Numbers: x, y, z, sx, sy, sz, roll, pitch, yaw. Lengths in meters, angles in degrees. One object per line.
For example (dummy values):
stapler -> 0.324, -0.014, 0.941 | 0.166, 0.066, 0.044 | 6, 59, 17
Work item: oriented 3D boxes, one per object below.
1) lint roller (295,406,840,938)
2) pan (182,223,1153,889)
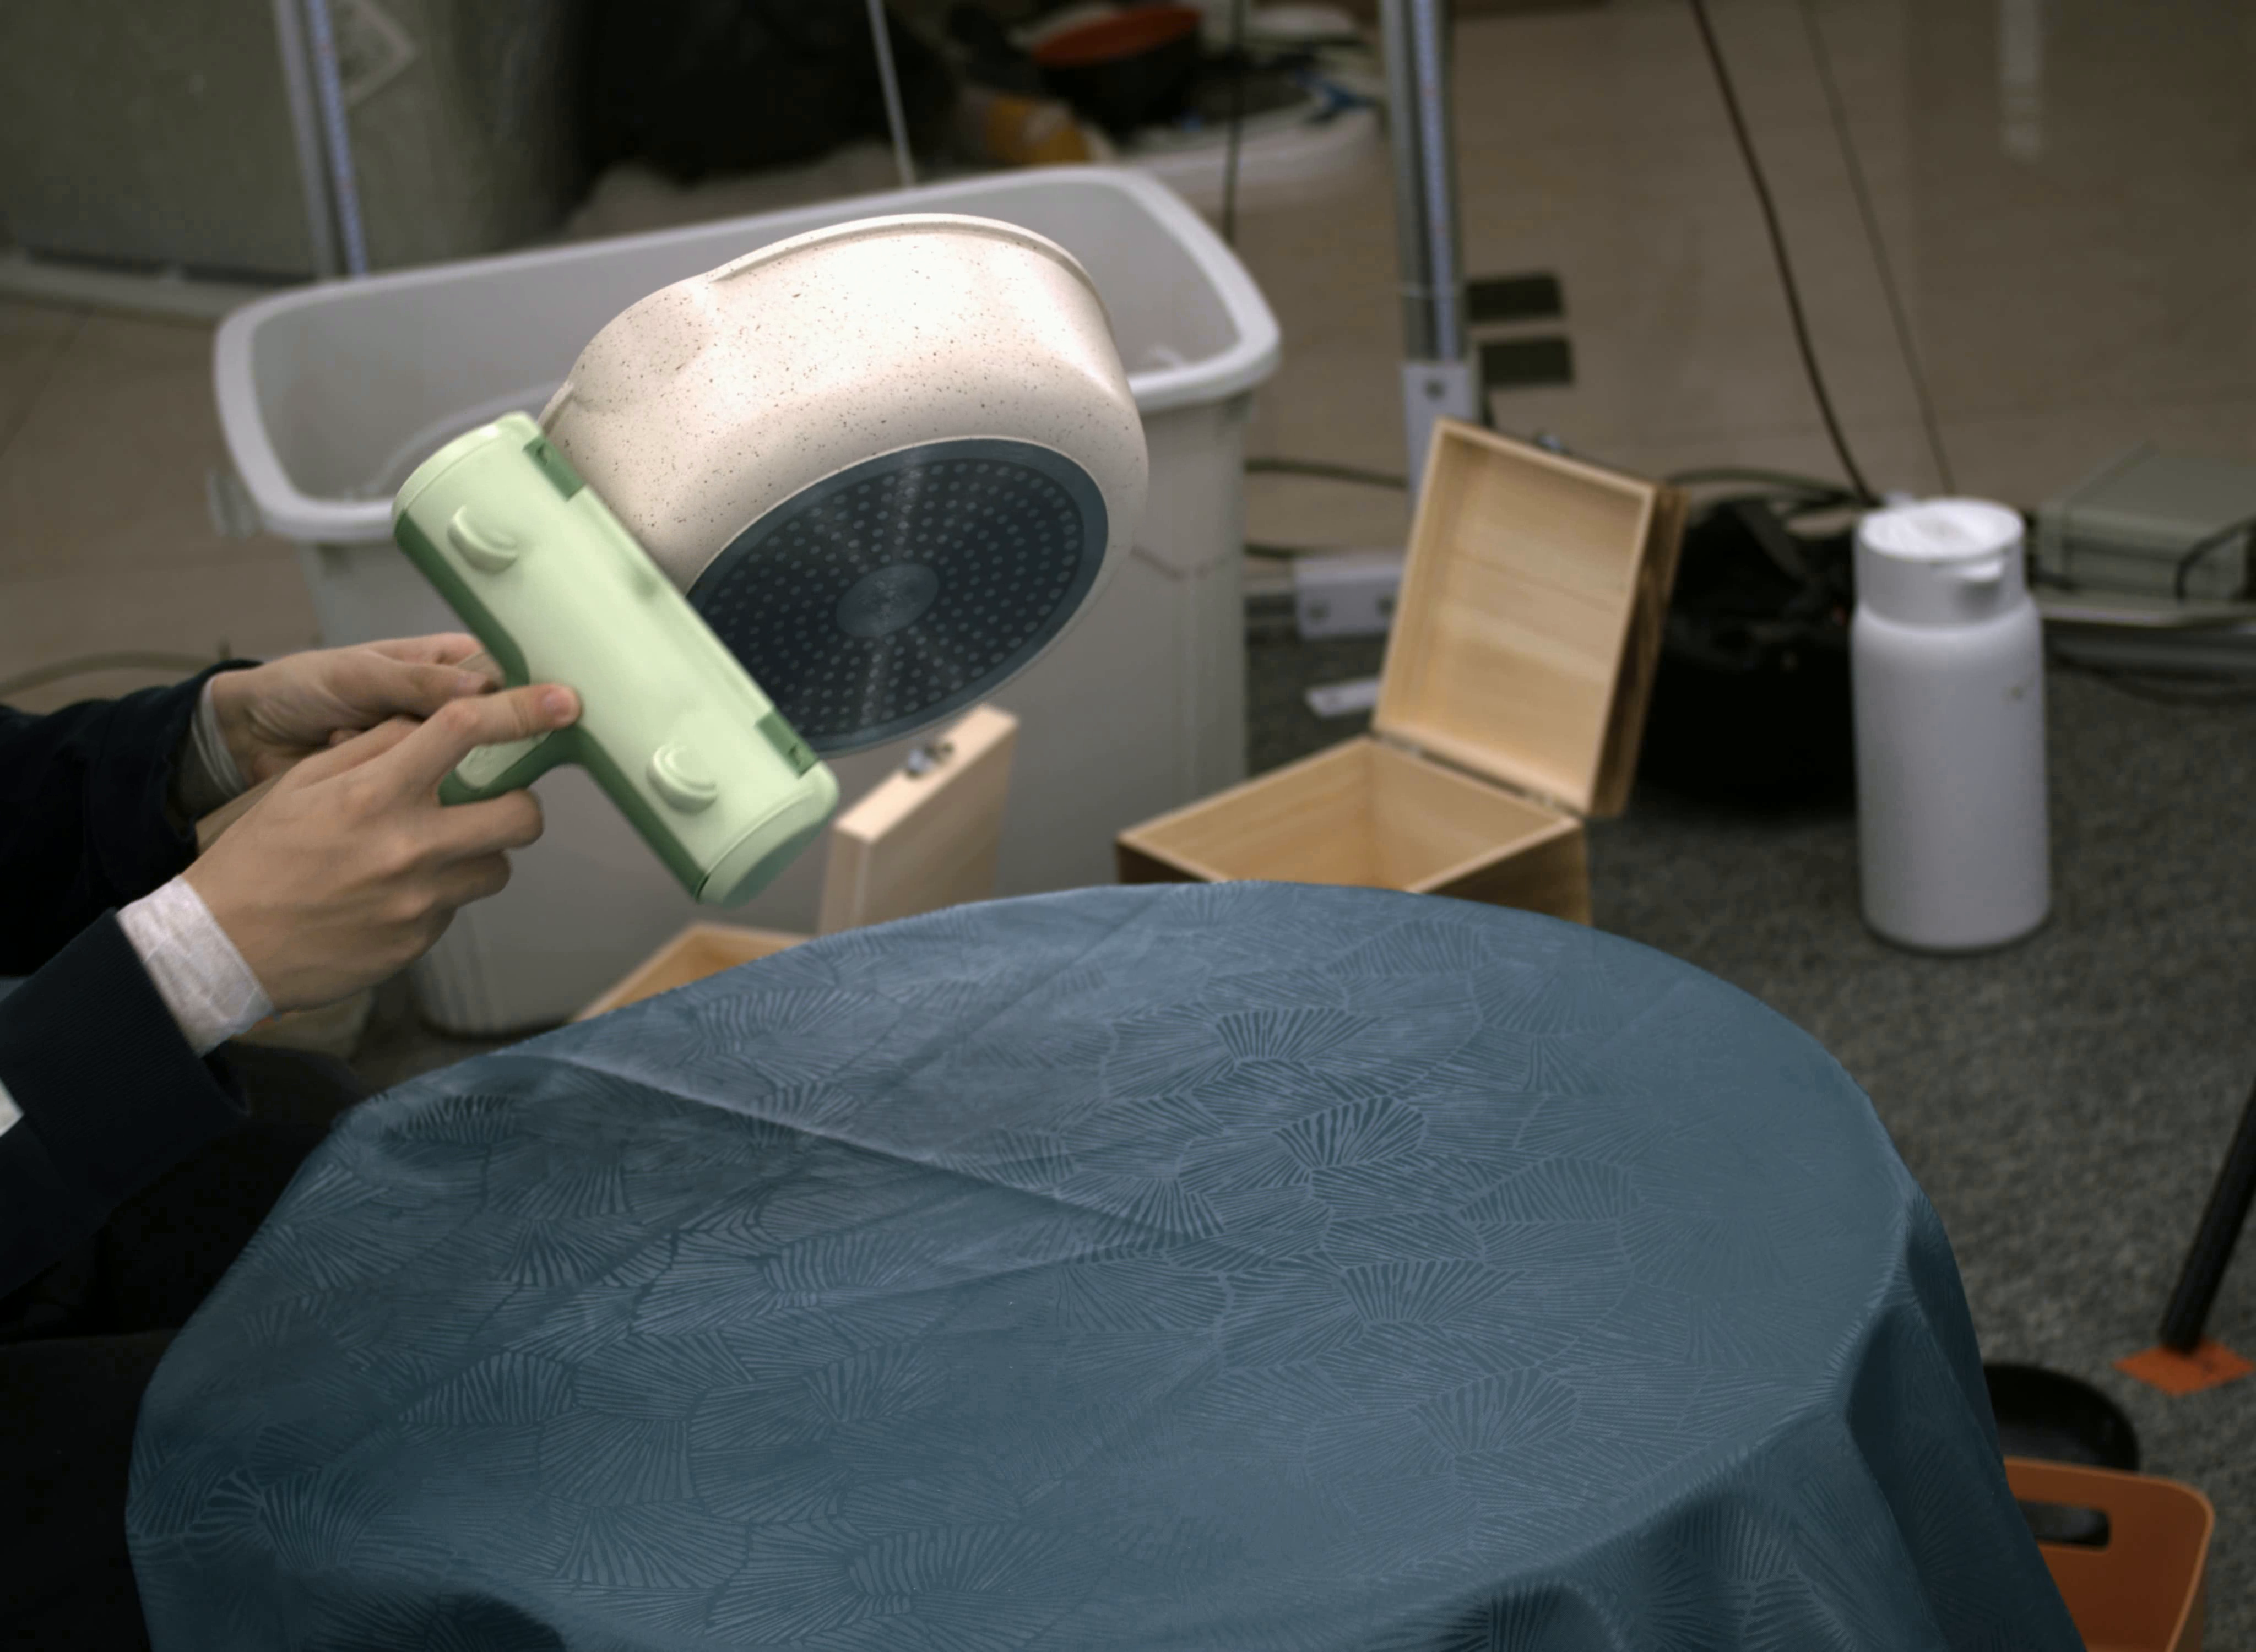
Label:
lint roller -> -0.231, -0.027, 2.036 | 0.183, 0.198, 0.083 | -39, -9, -5
pan -> -0.180, -0.069, 2.178 | 0.437, 0.265, 0.100 | -35, 61, 16
